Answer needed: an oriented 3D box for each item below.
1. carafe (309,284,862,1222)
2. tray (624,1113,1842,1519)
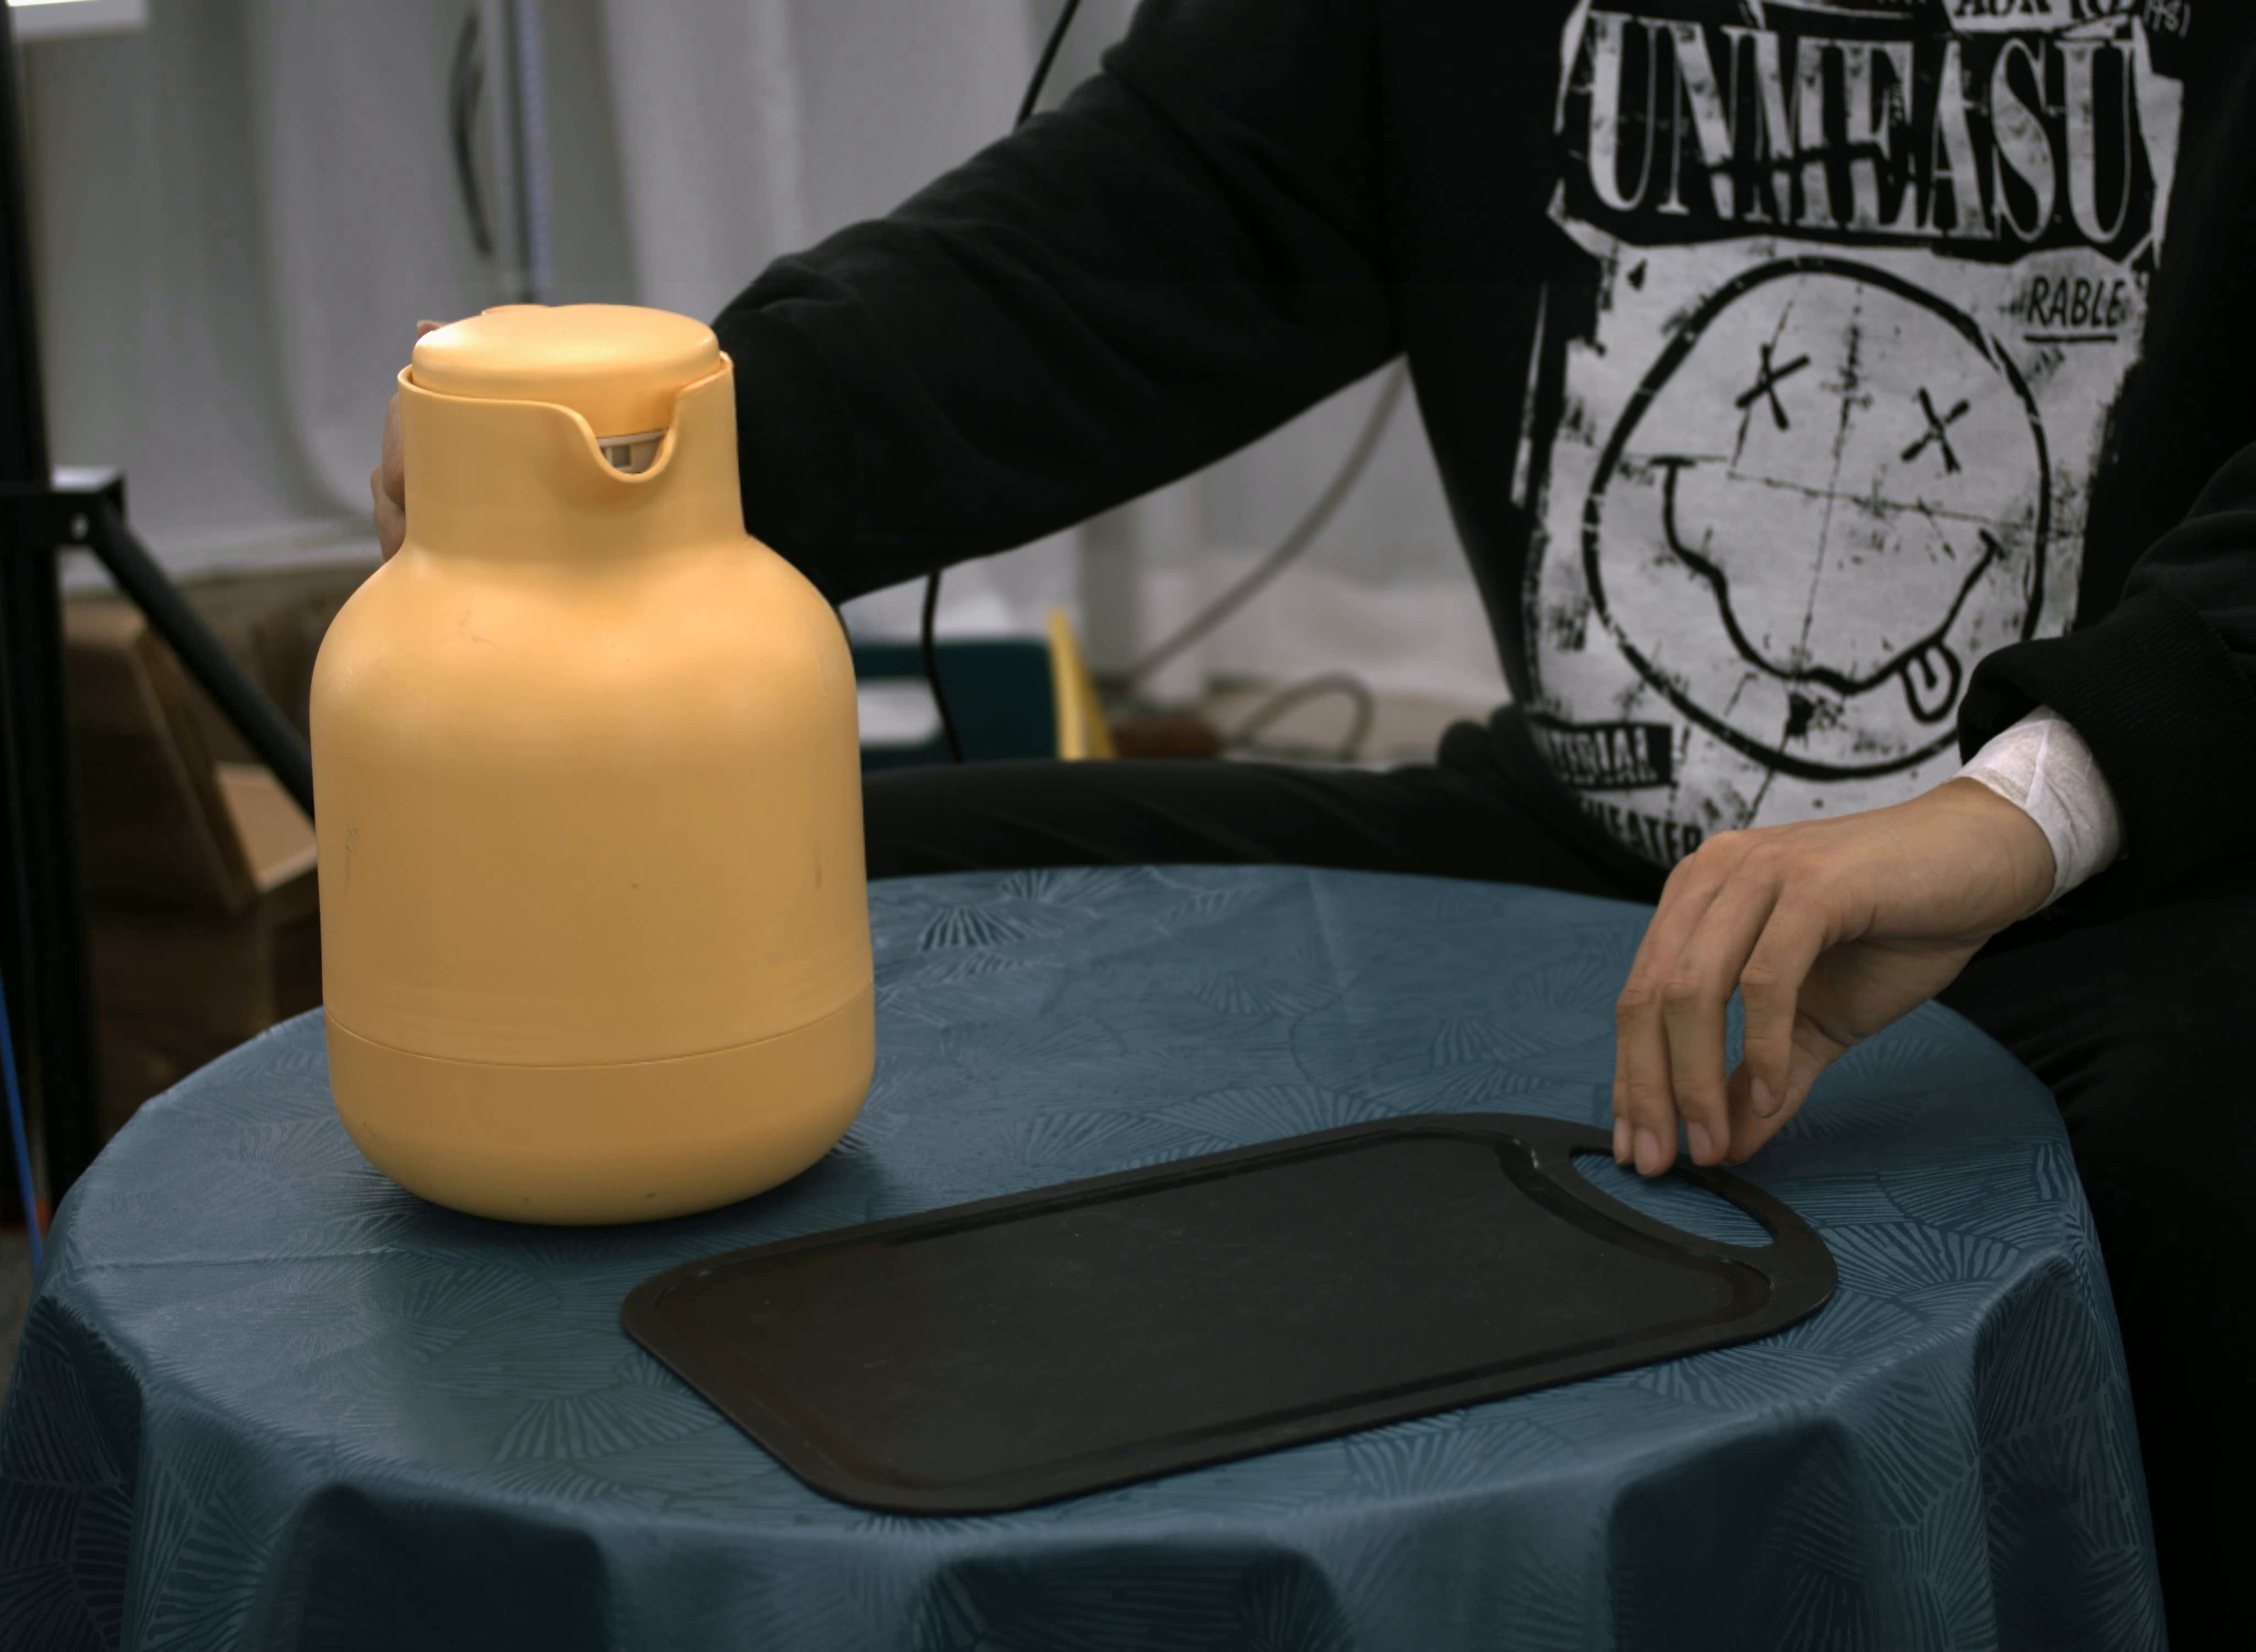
[{"bbox_3d":[-0.164,-0.030,1.586,0.161,0.260,0.206,-4,17,-17],"label":"carafe"},{"bbox_3d":[0.035,0.128,1.467,0.319,0.010,0.215,-9,17,-23],"label":"tray"}]
